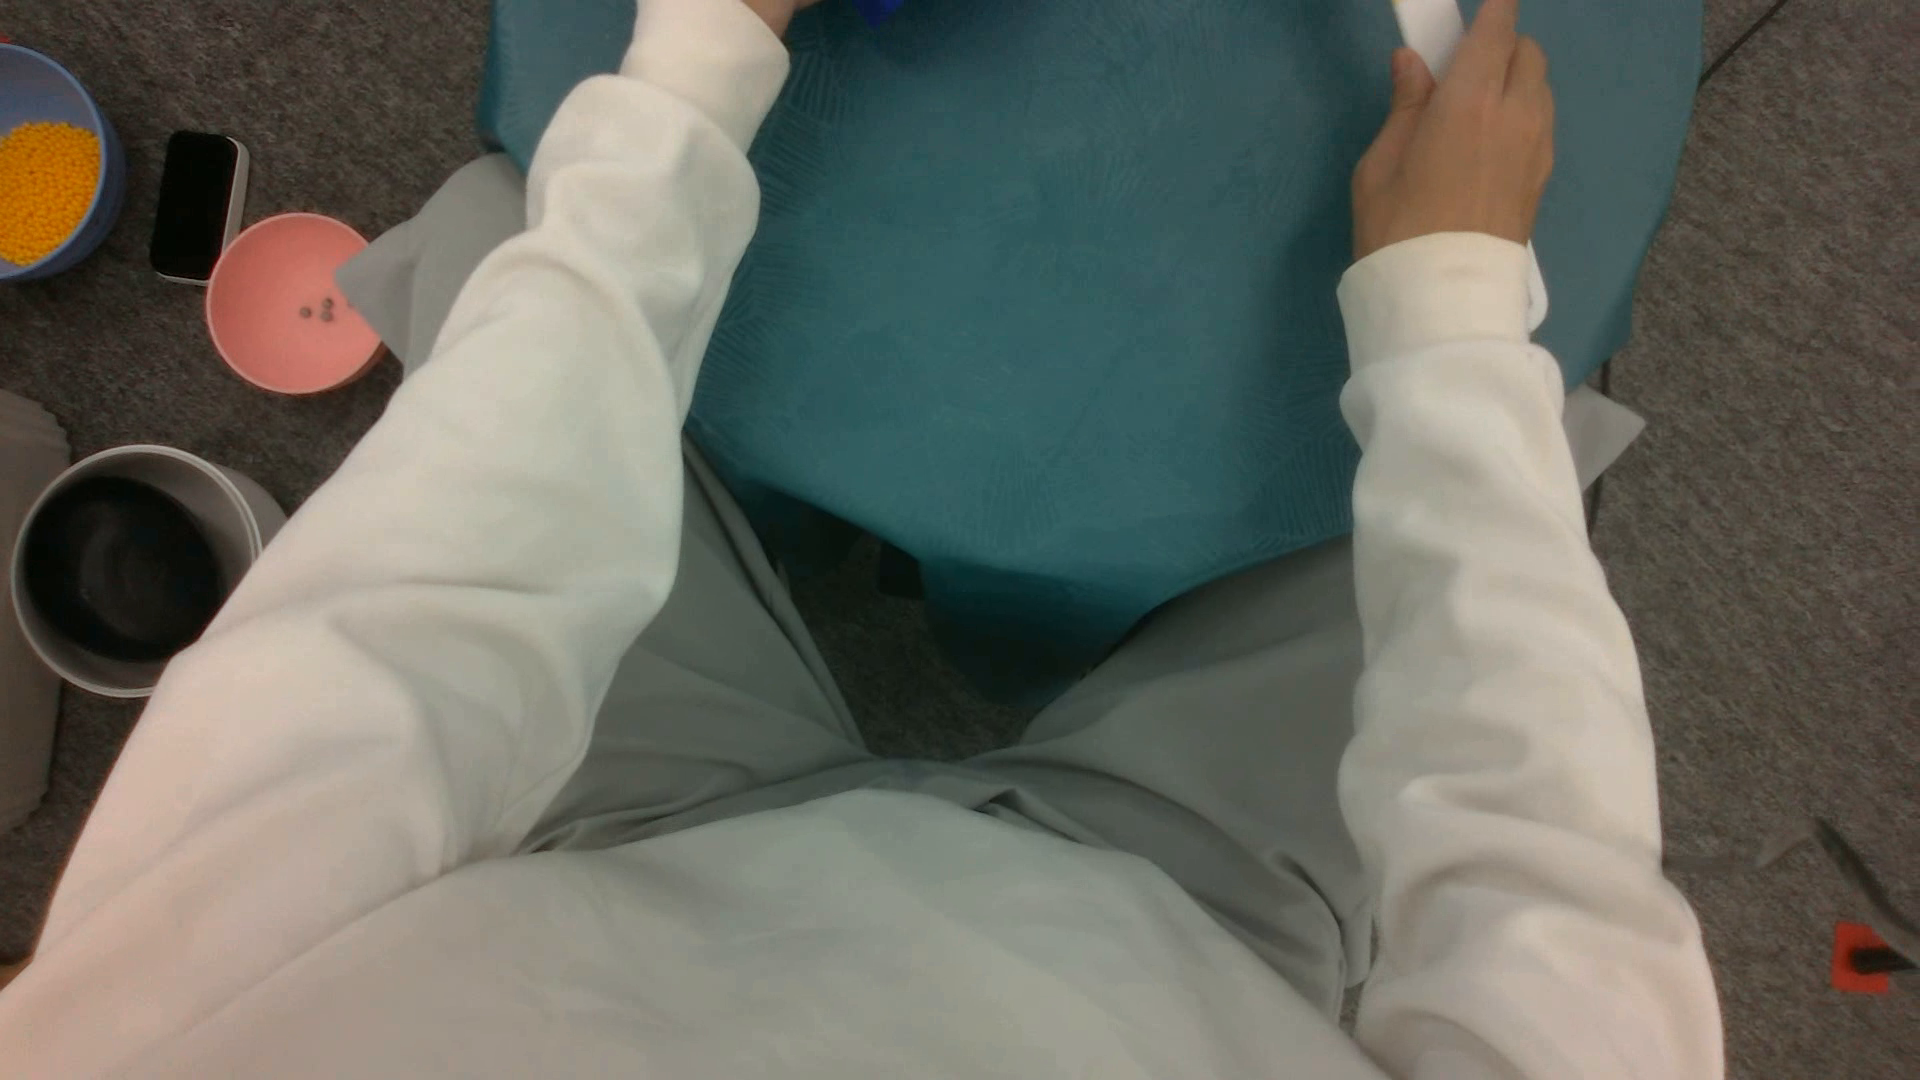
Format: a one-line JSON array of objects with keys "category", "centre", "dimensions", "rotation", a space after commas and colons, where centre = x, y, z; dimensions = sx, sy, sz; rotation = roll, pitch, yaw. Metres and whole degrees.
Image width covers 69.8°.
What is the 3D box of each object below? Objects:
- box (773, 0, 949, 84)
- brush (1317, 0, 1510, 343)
[{"category": "box", "centre": [-0.023, -0.316, 0.631], "dimensions": [0.179, 0.082, 0.124], "rotation": [-44, 107, -6]}, {"category": "brush", "centre": [0.188, -0.211, 0.625], "dimensions": [0.068, 0.056, 0.266], "rotation": [-28, 113, 3]}]
